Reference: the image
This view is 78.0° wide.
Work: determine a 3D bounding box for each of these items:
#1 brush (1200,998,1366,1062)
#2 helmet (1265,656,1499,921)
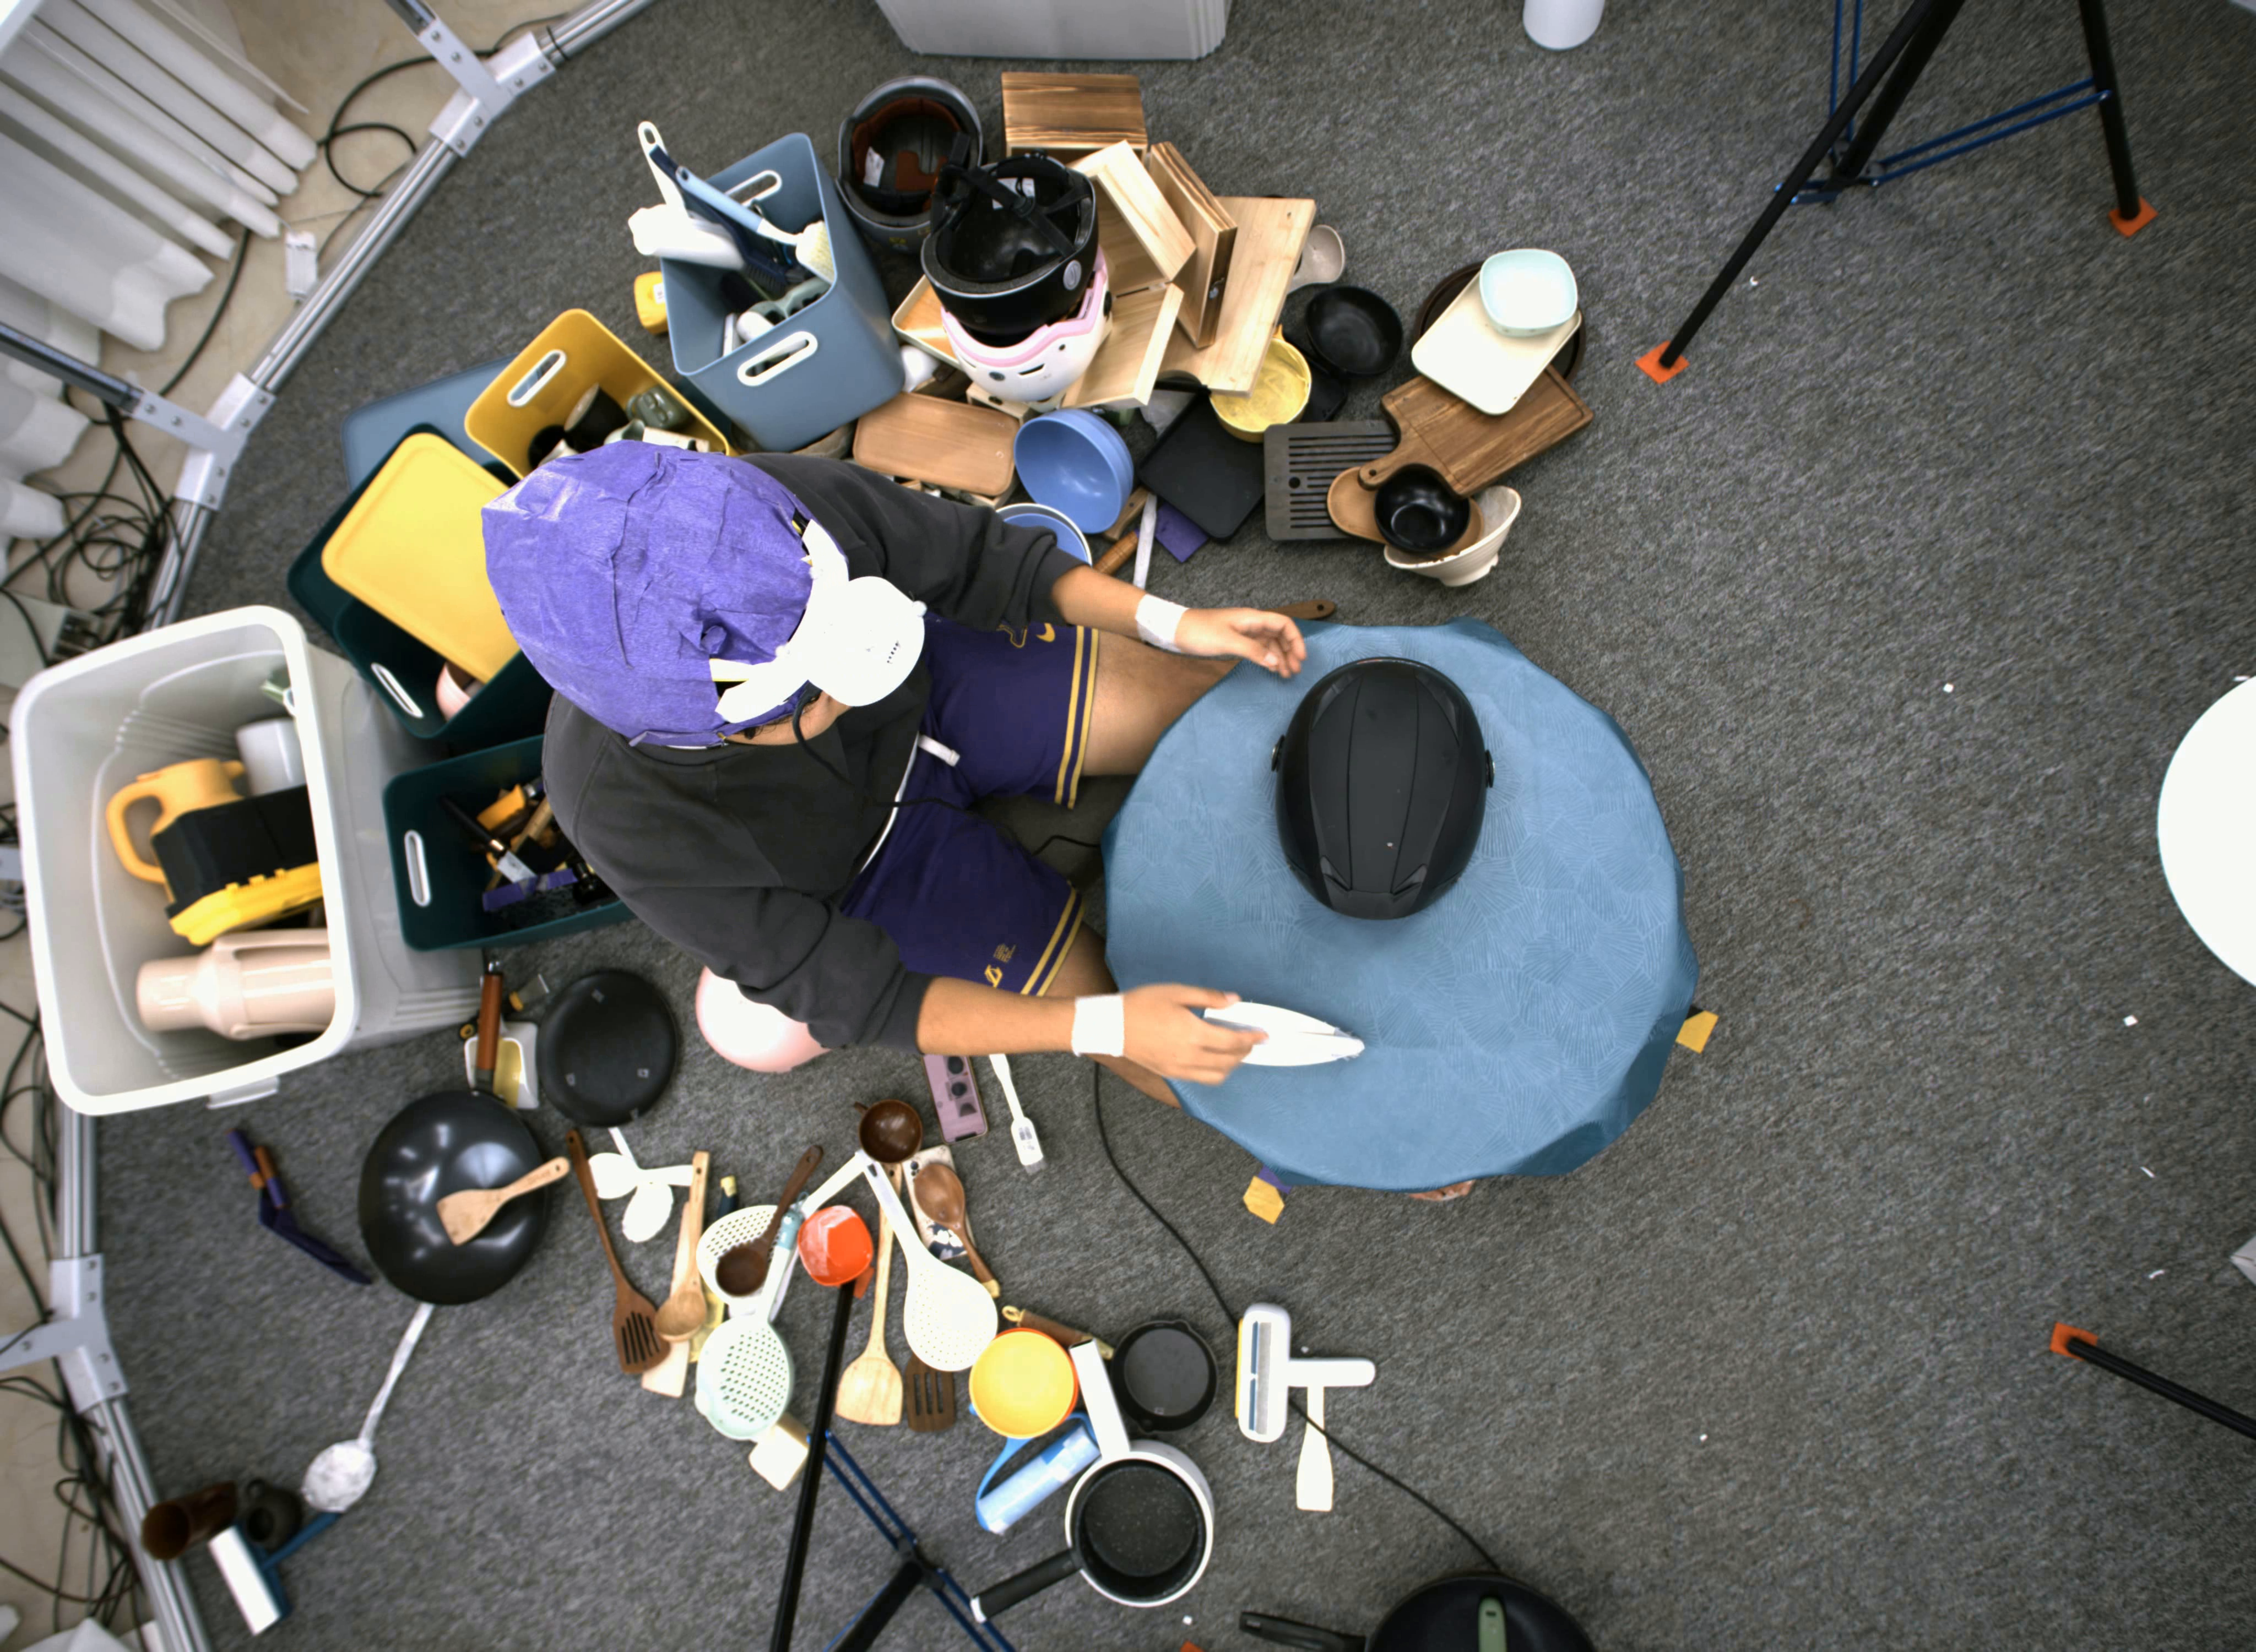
[{"bbox_3d":[0.158,0.214,1.426,0.176,0.094,0.061,7,87,8],"label":"brush"},{"bbox_3d":[0.257,-0.043,1.388,0.247,0.172,0.277,7,91,10],"label":"helmet"}]
